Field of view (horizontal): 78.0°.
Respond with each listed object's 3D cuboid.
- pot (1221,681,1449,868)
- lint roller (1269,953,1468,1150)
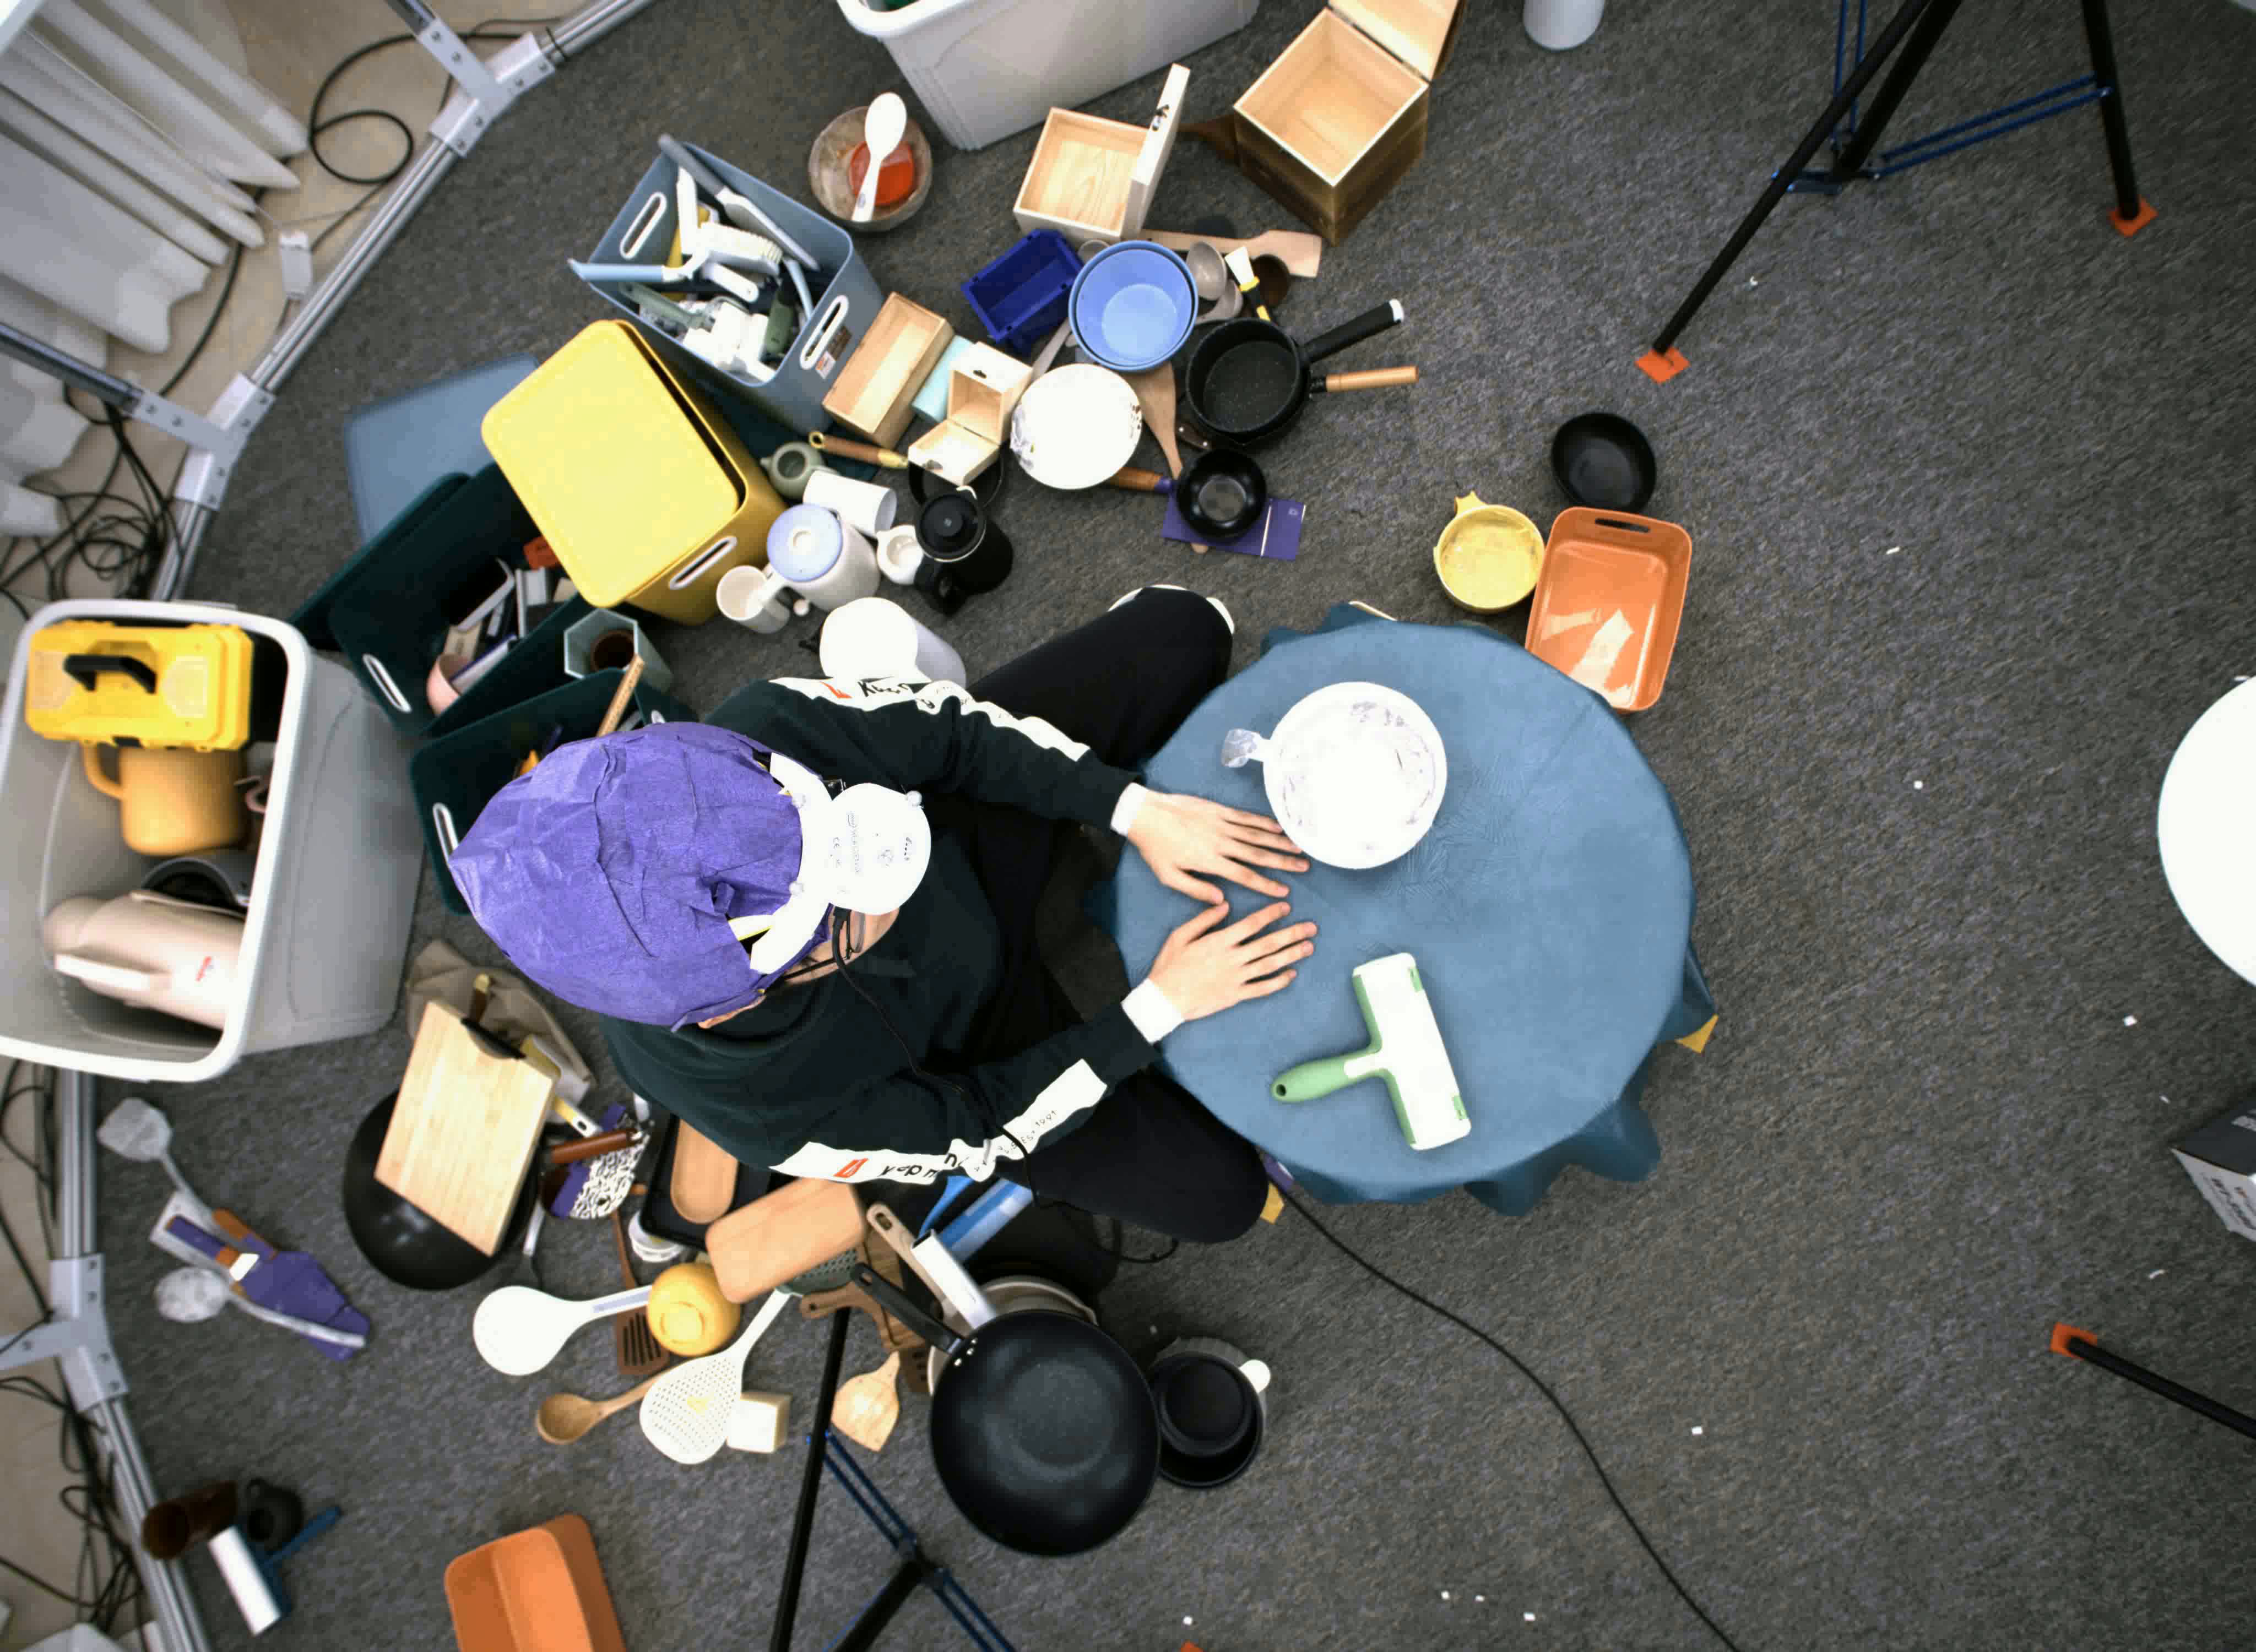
[{"bbox_3d":[0.205,-0.056,1.404,0.234,0.137,0.178,16,88,10],"label":"pot"},{"bbox_3d":[0.232,0.246,1.416,0.184,0.082,0.197,-18,84,4],"label":"lint roller"}]
